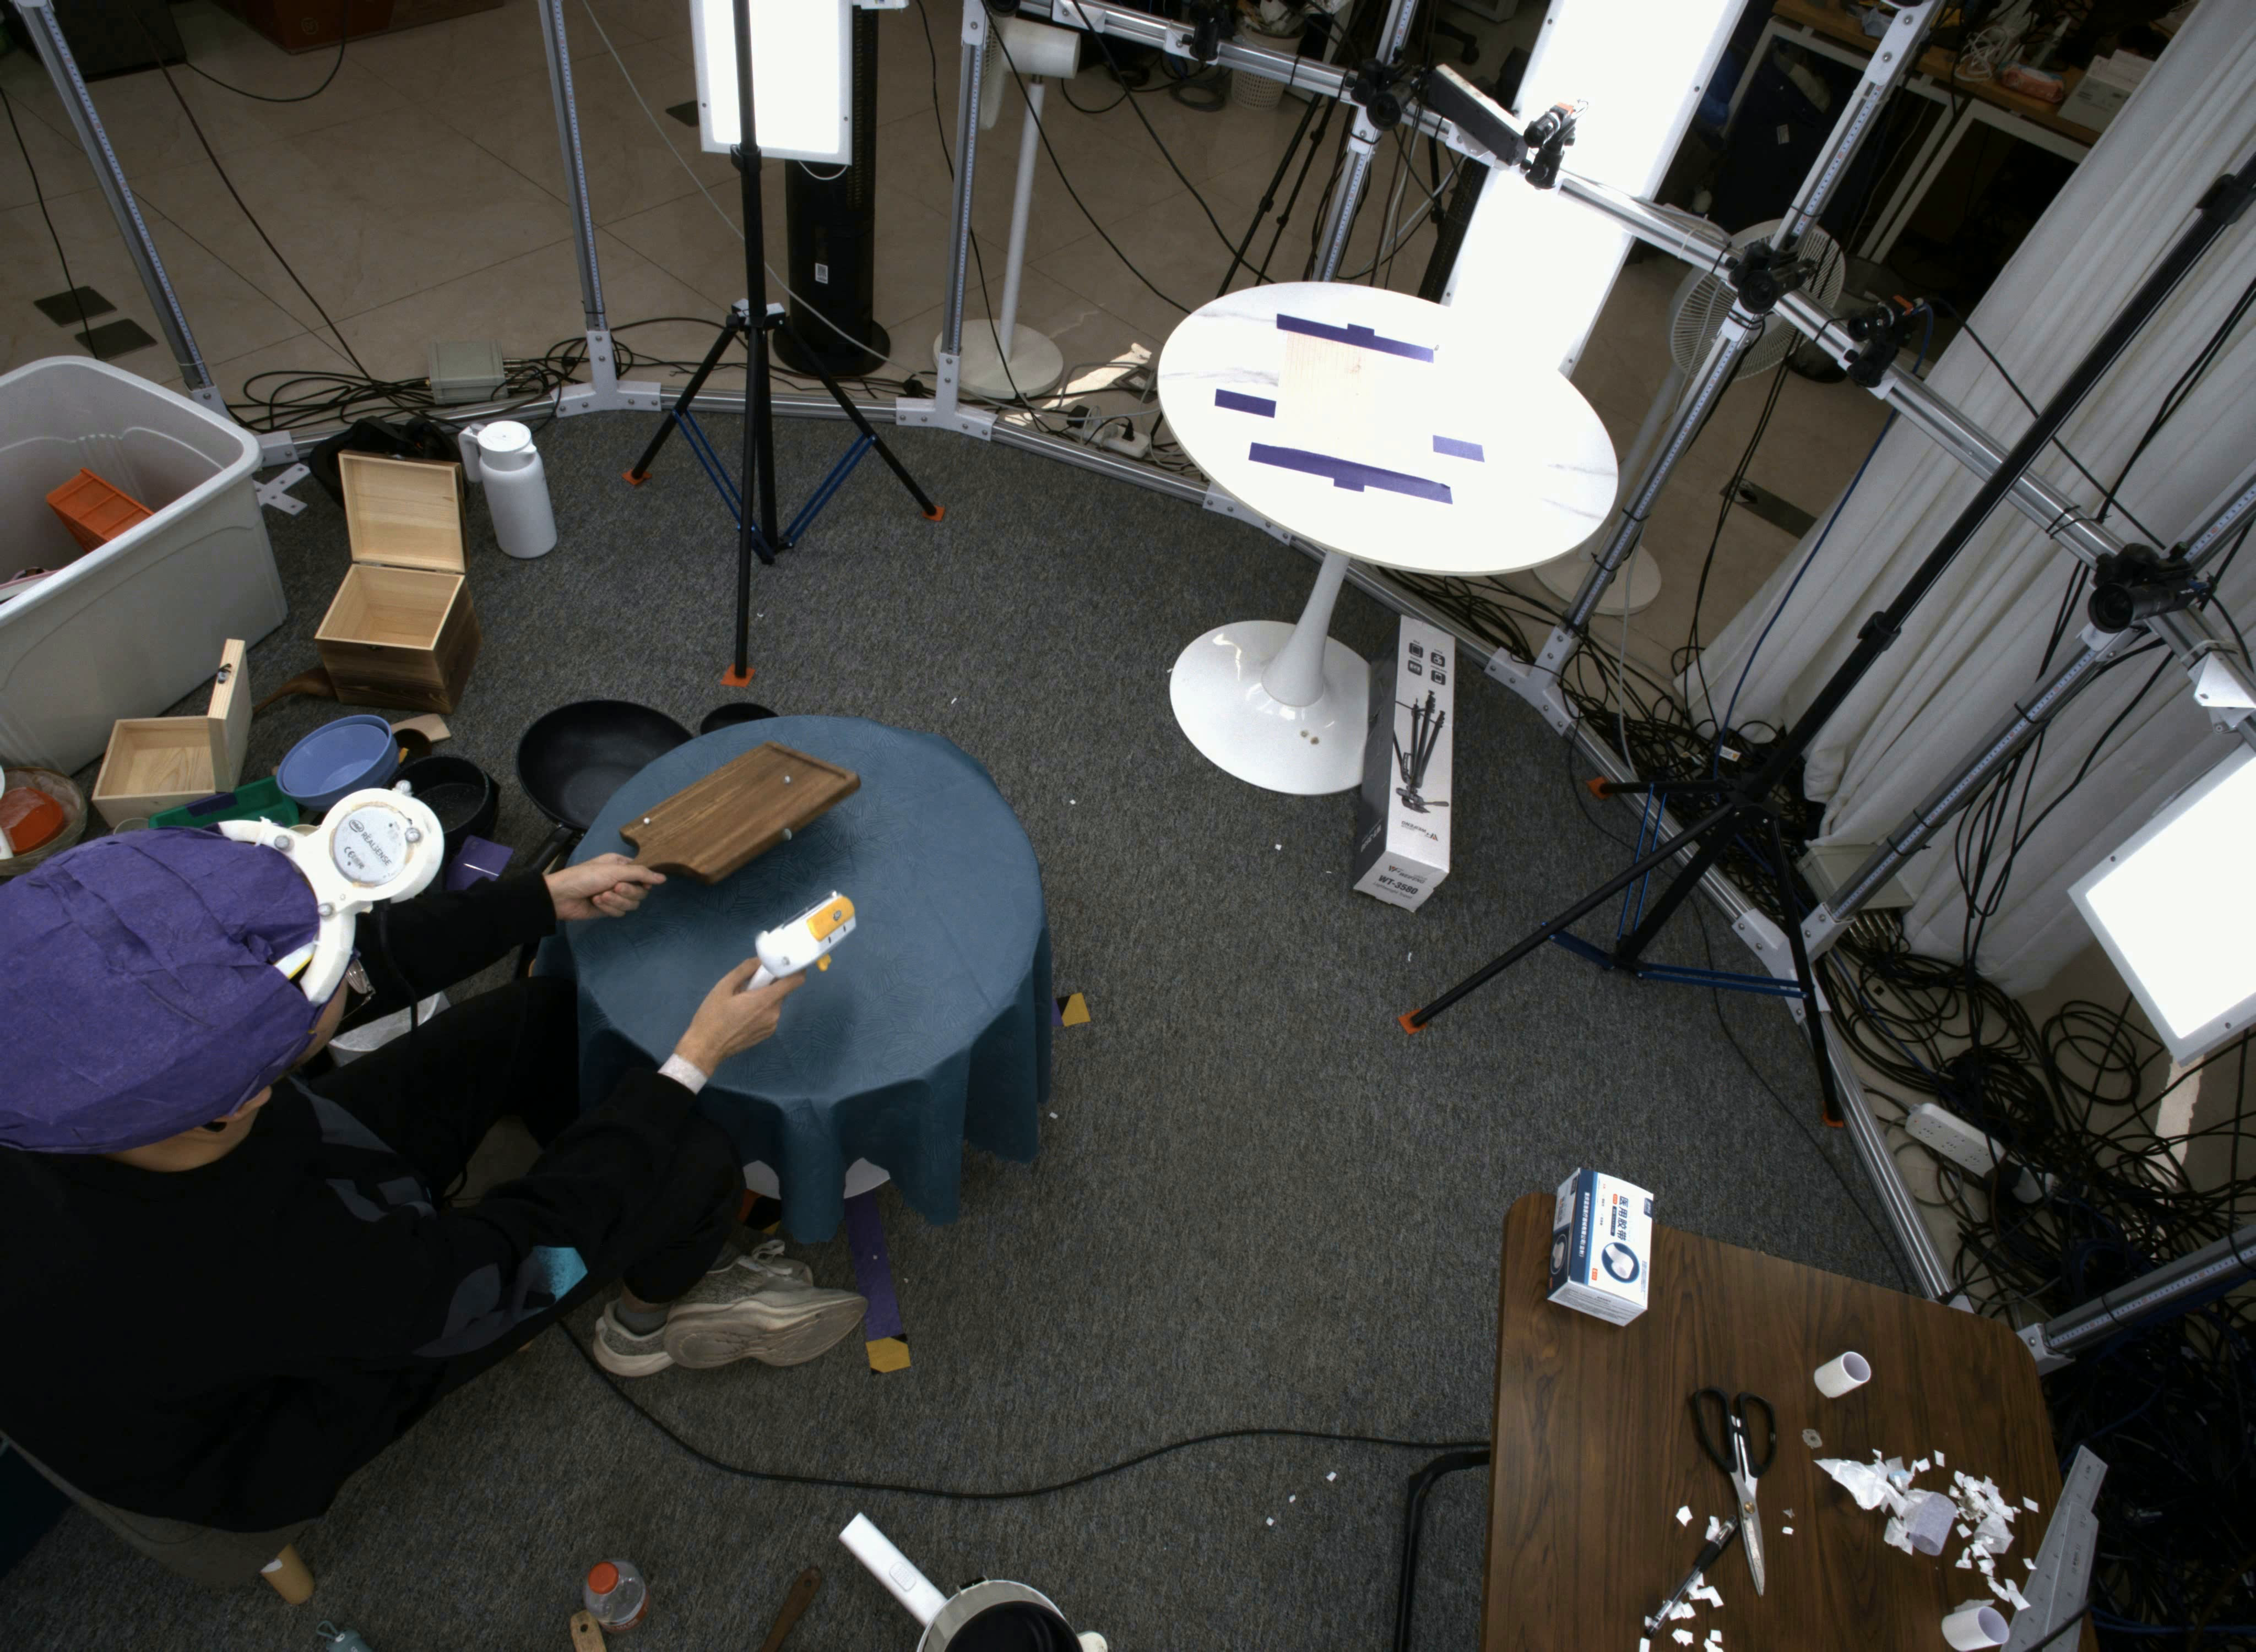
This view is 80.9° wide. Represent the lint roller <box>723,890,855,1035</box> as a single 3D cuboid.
[{"bbox_3d":[-0.402,0.160,1.471,0.075,0.191,0.190,50,14,-11],"label":"lint roller"}]

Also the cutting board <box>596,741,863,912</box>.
[{"bbox_3d":[-0.525,0.002,1.627,0.194,0.024,0.352,22,43,31],"label":"cutting board"}]
